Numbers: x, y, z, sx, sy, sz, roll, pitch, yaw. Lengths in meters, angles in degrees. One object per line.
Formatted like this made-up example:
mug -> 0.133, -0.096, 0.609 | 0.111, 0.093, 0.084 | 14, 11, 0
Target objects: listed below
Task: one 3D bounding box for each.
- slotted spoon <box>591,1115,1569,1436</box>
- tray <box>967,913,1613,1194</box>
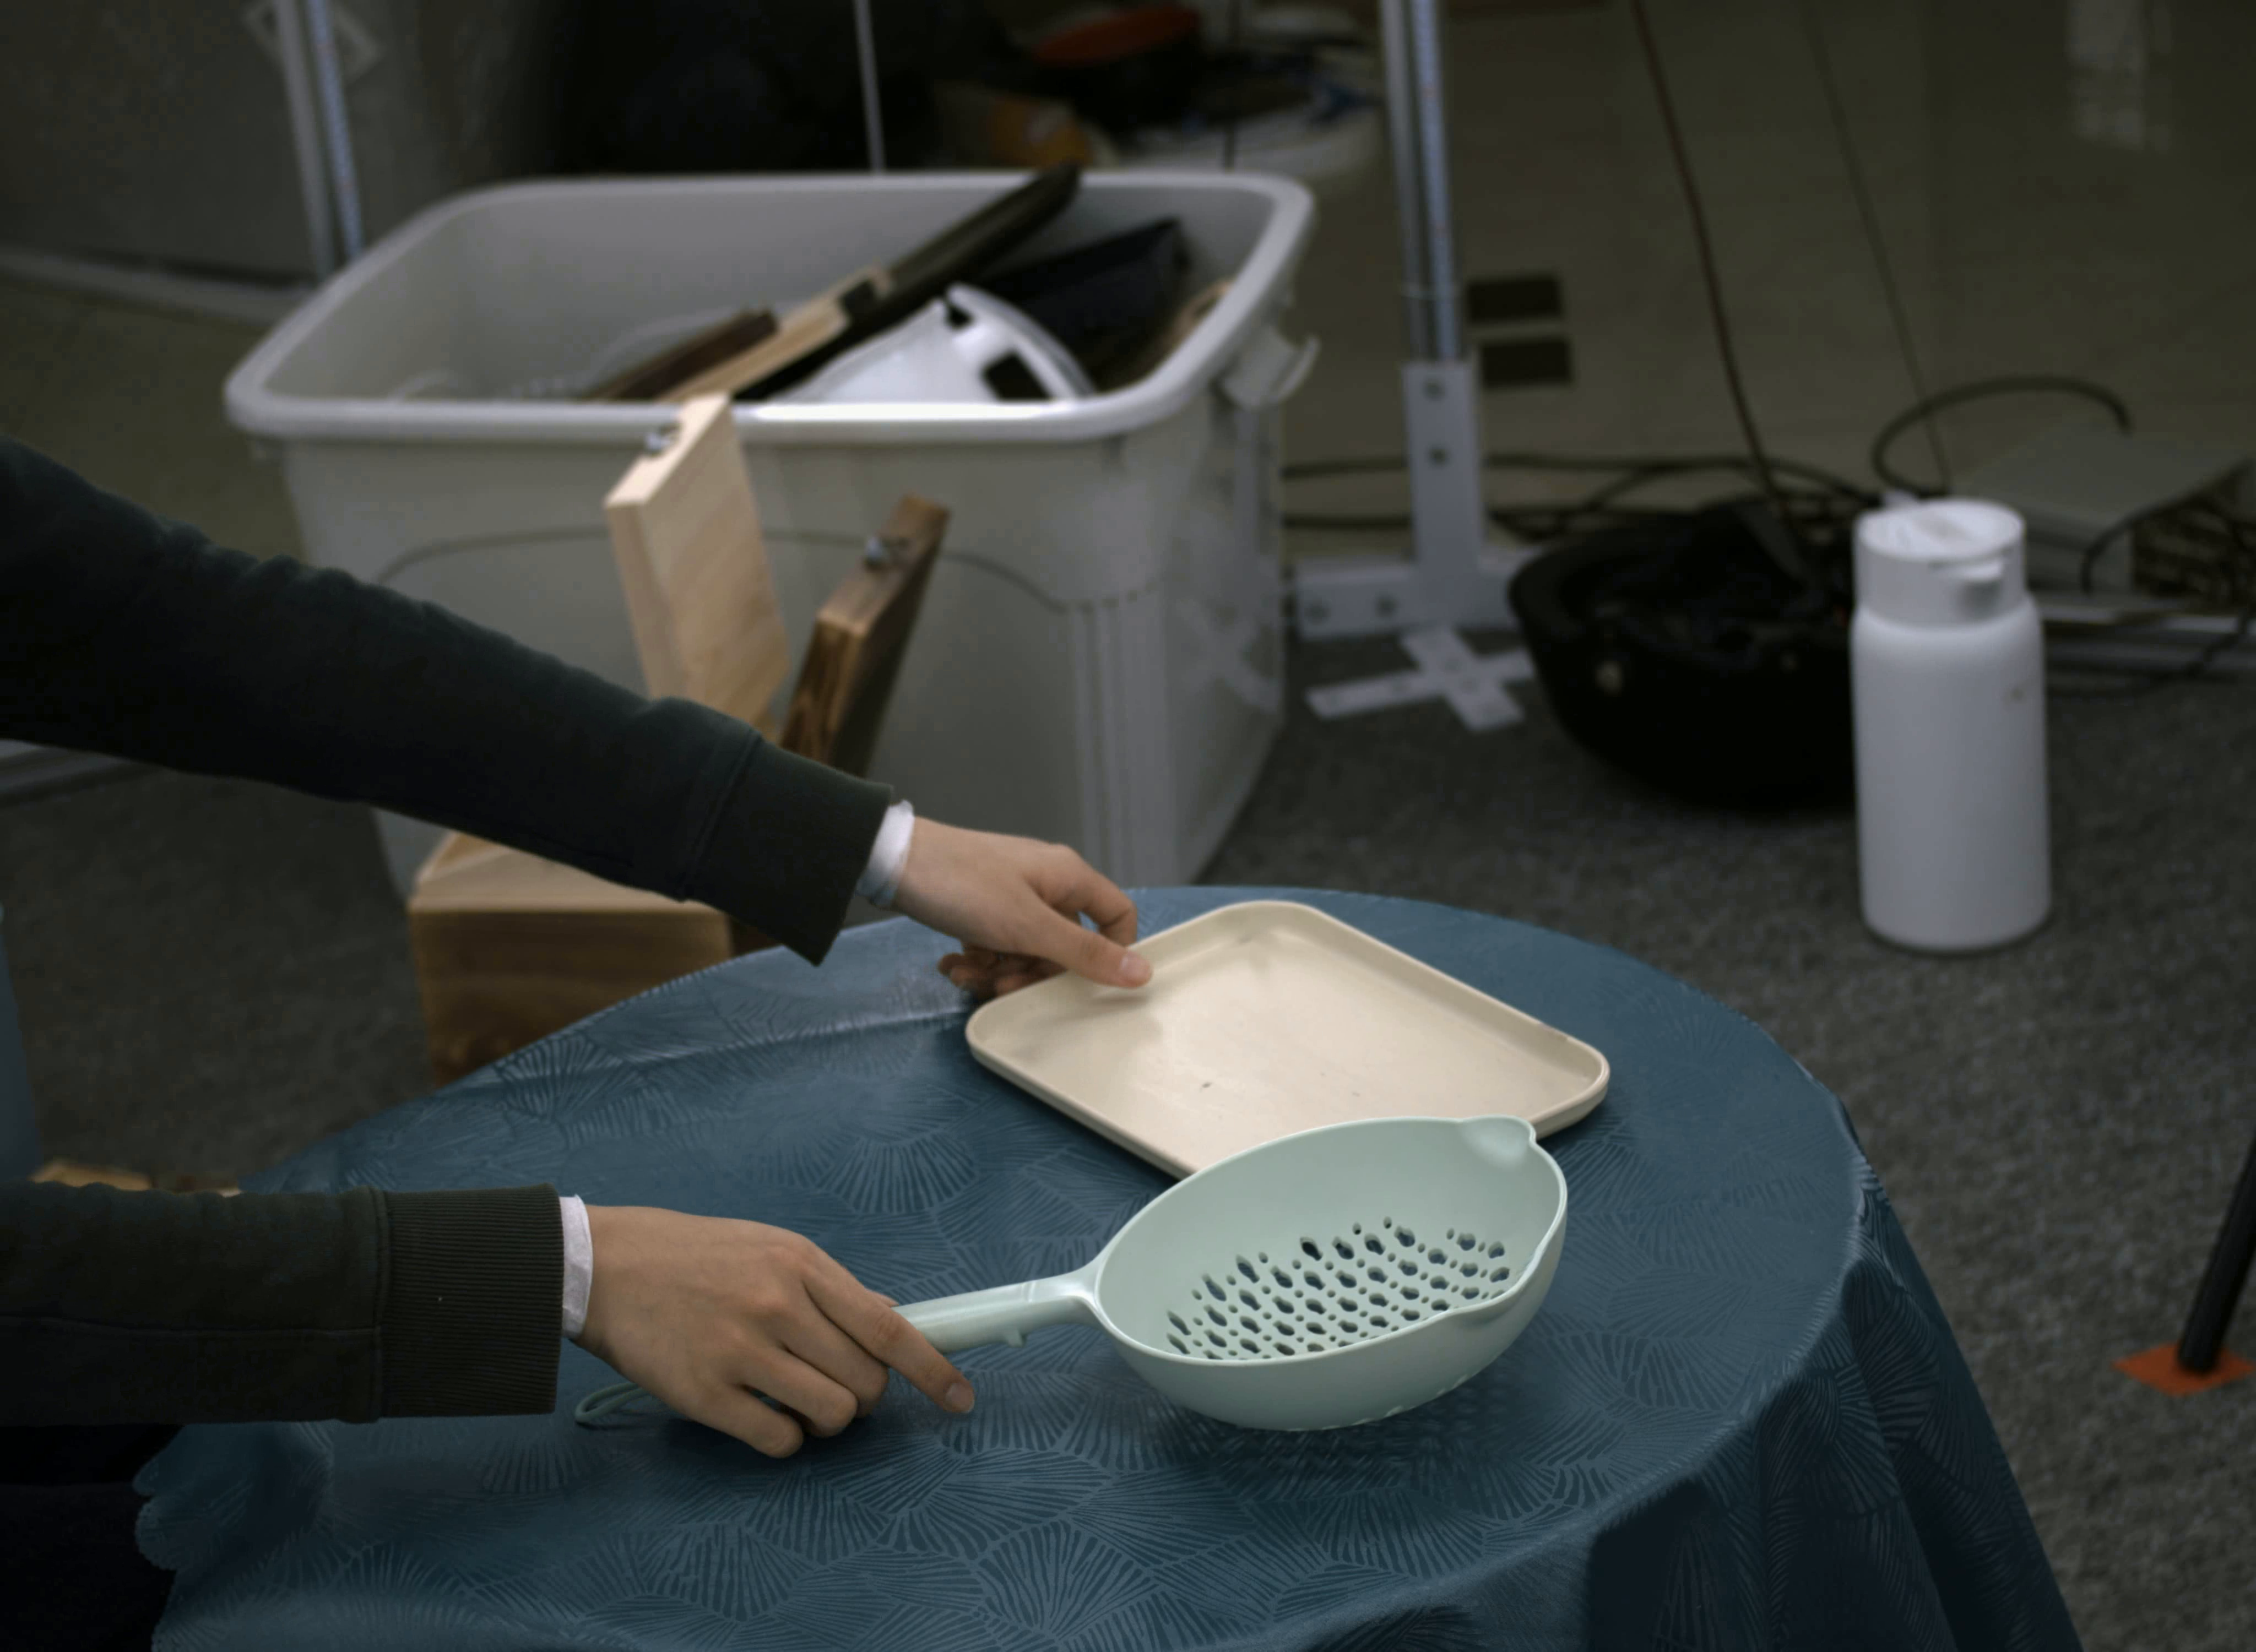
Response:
slotted spoon -> -0.021, 0.174, 2.008 | 0.358, 0.076, 0.167 | -4, 24, 7
tray -> 0.061, 0.095, 2.213 | 0.170, 0.018, 0.237 | -21, 28, -30
